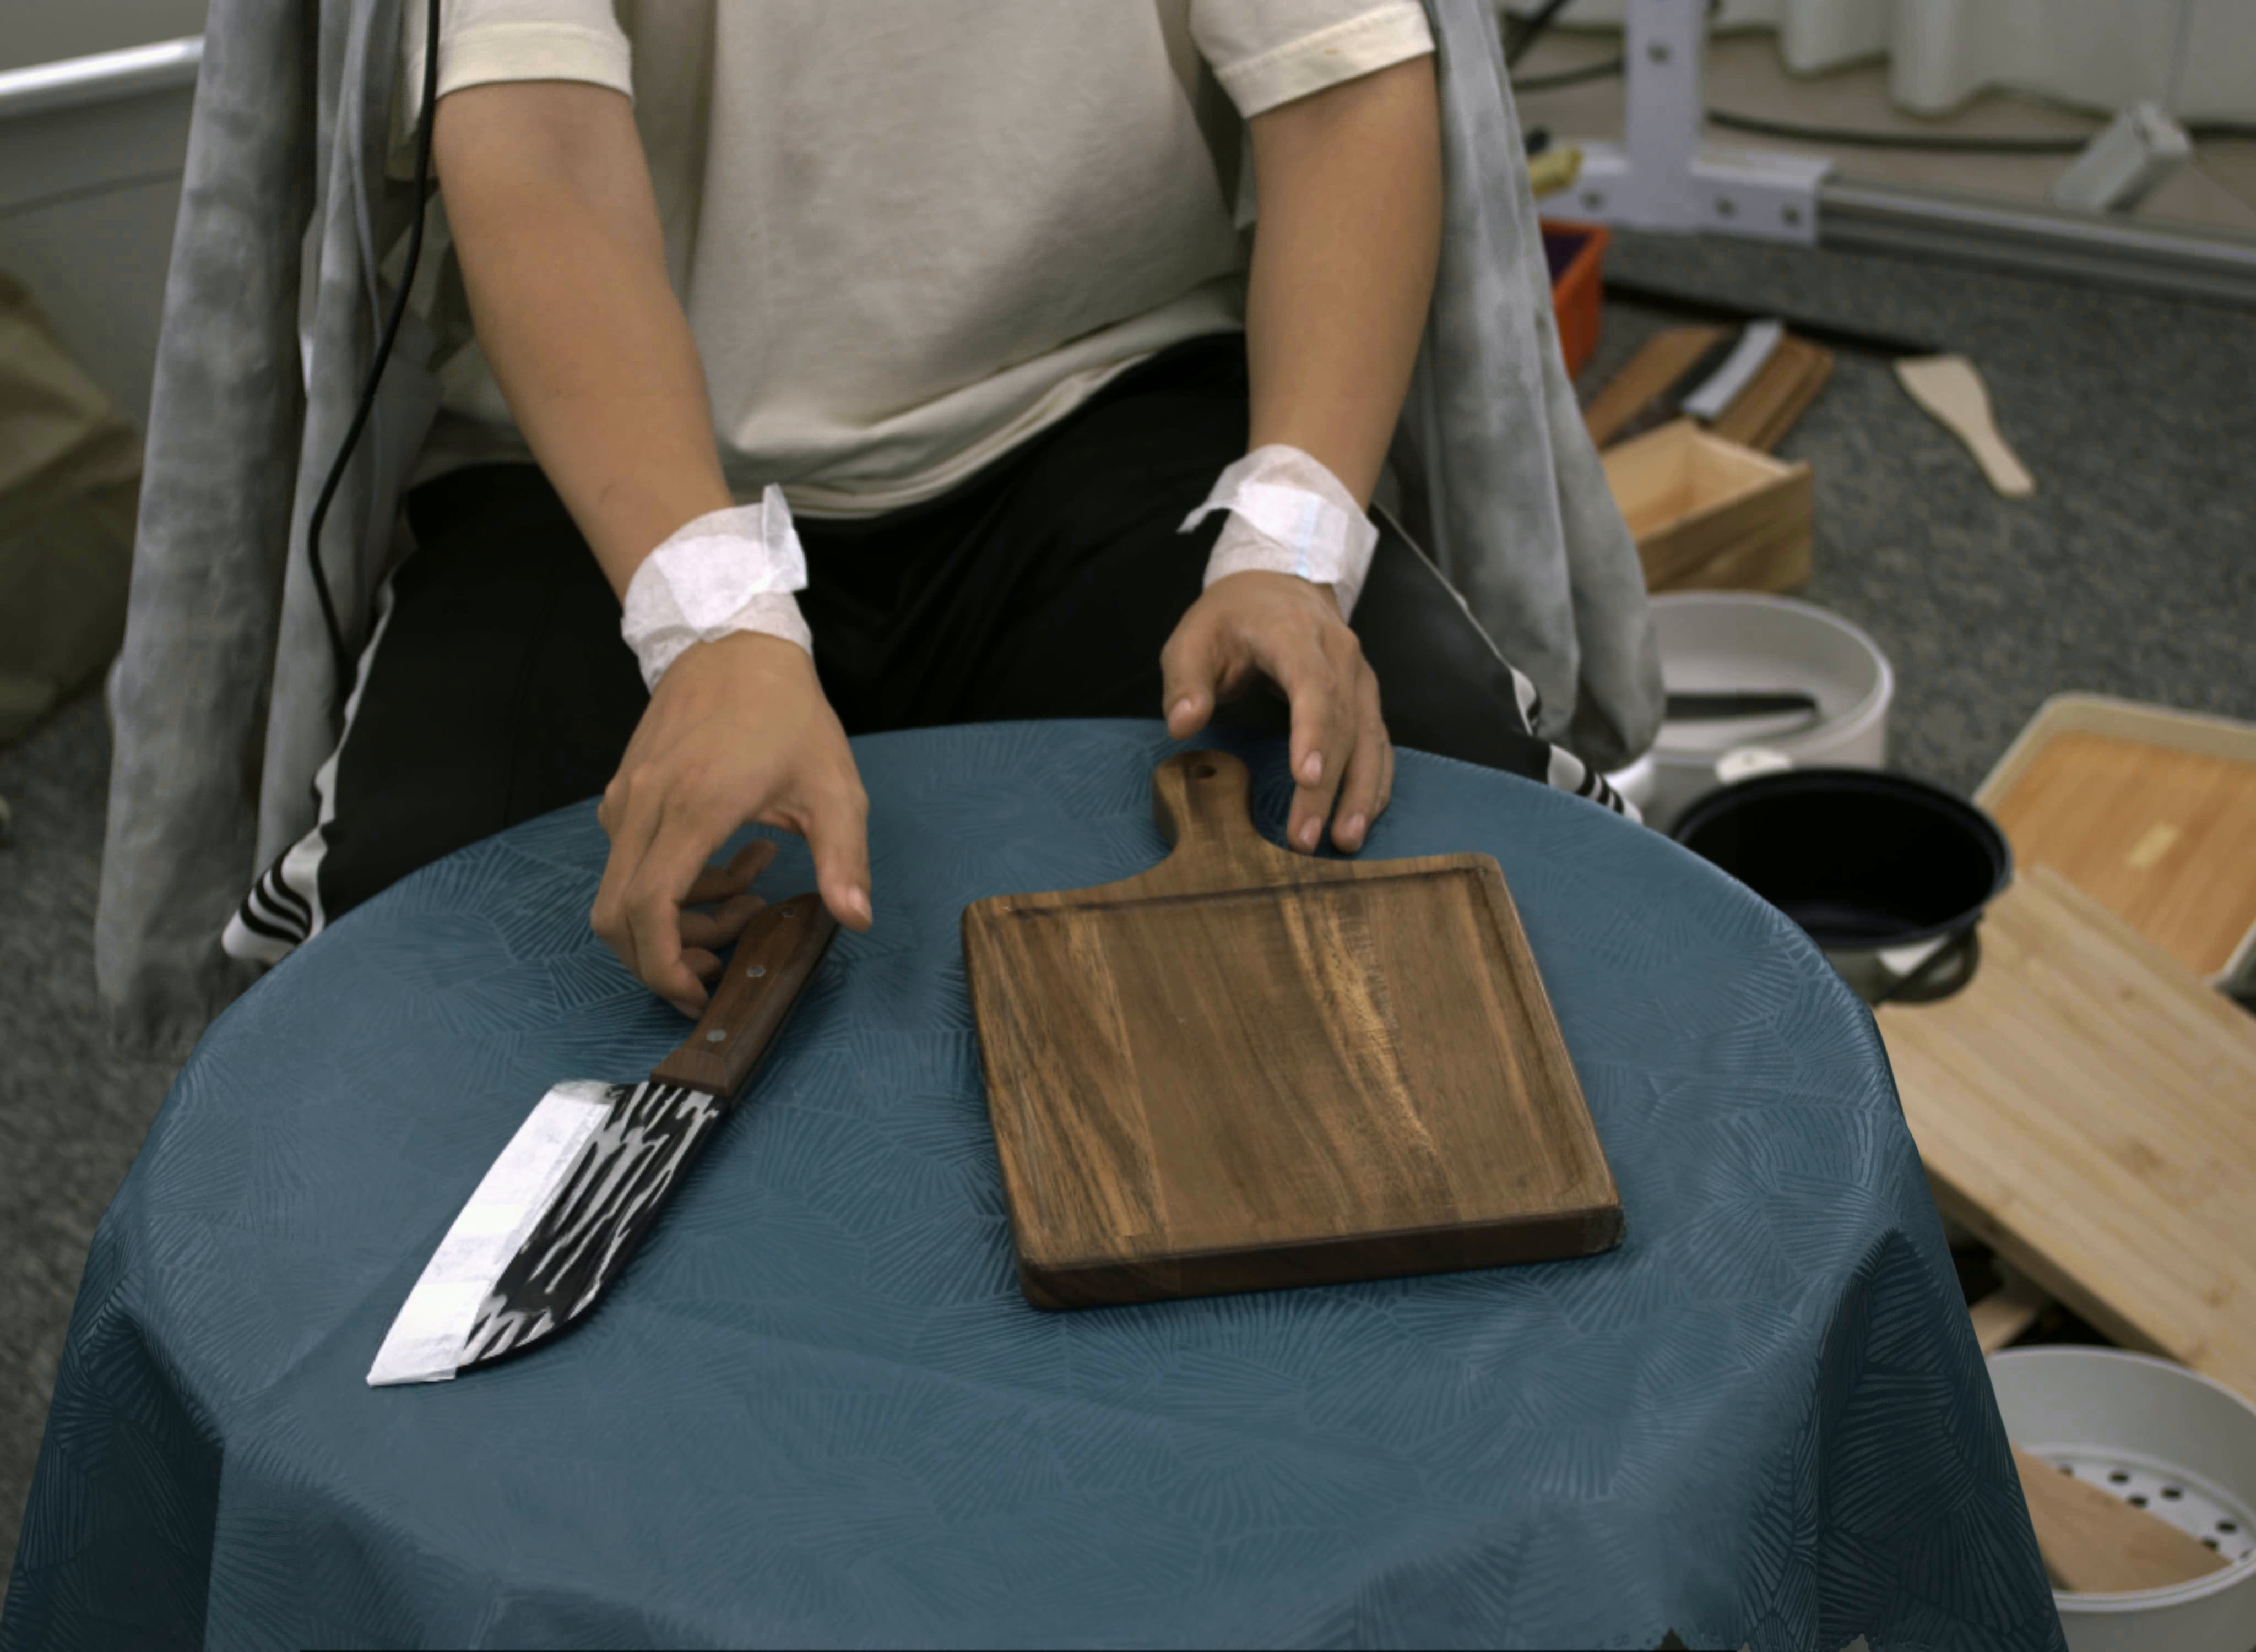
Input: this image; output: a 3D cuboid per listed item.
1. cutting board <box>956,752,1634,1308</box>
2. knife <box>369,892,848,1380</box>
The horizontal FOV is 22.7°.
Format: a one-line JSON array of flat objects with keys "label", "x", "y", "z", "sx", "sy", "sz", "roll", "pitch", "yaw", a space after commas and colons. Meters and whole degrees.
[{"label": "cutting board", "x": 0.045, "y": 0.059, "z": 1.954, "sx": 0.200, "sy": 0.023, "sz": 0.357, "roll": -5, "pitch": 27, "yaw": -5}, {"label": "knife", "x": -0.172, "y": 0.103, "z": 1.891, "sx": 0.067, "sy": 0.024, "sz": 0.305, "roll": 4, "pitch": 30, "yaw": 19}]
